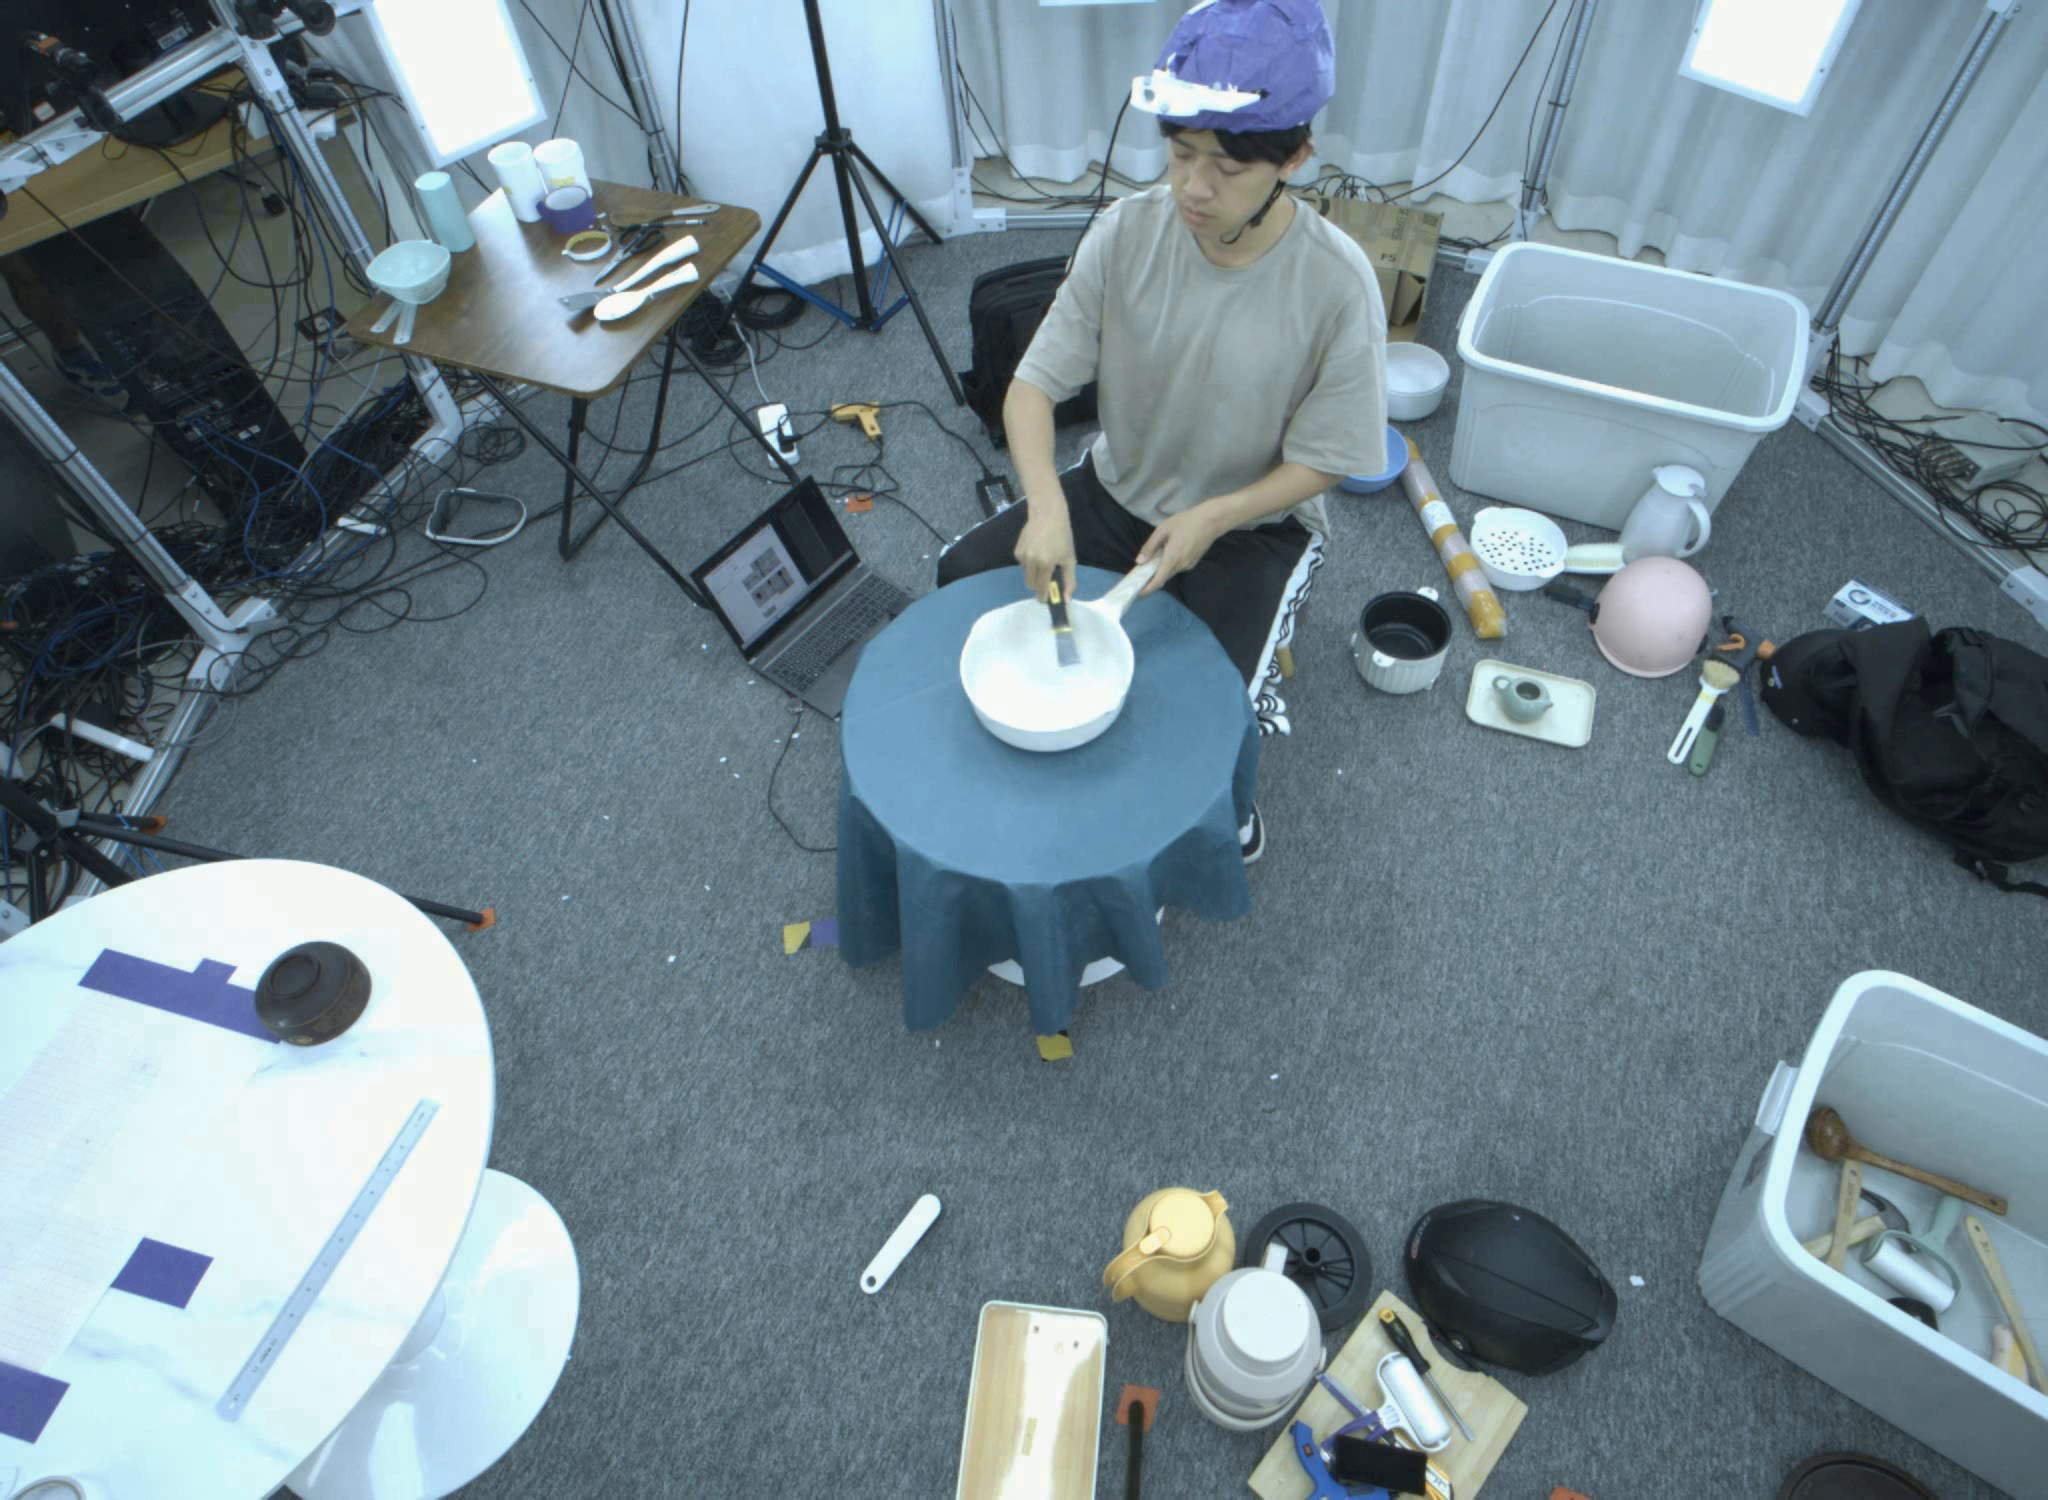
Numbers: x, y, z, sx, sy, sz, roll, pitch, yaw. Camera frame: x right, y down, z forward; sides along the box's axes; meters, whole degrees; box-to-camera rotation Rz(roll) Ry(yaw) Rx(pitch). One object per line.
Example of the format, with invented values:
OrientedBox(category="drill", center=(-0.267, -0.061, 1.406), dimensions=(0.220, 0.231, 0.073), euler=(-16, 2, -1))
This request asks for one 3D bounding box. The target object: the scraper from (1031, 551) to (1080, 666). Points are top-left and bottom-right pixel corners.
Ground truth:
OrientedBox(category="scraper", center=(0.043, -0.207, 1.796), dimensions=(0.038, 0.172, 0.015), euler=(-13, 14, 9))

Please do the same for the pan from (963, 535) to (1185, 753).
OrientedBox(category="pan", center=(0.101, -0.163, 1.838), dimensions=(0.258, 0.103, 0.437), euler=(34, 63, 26))
